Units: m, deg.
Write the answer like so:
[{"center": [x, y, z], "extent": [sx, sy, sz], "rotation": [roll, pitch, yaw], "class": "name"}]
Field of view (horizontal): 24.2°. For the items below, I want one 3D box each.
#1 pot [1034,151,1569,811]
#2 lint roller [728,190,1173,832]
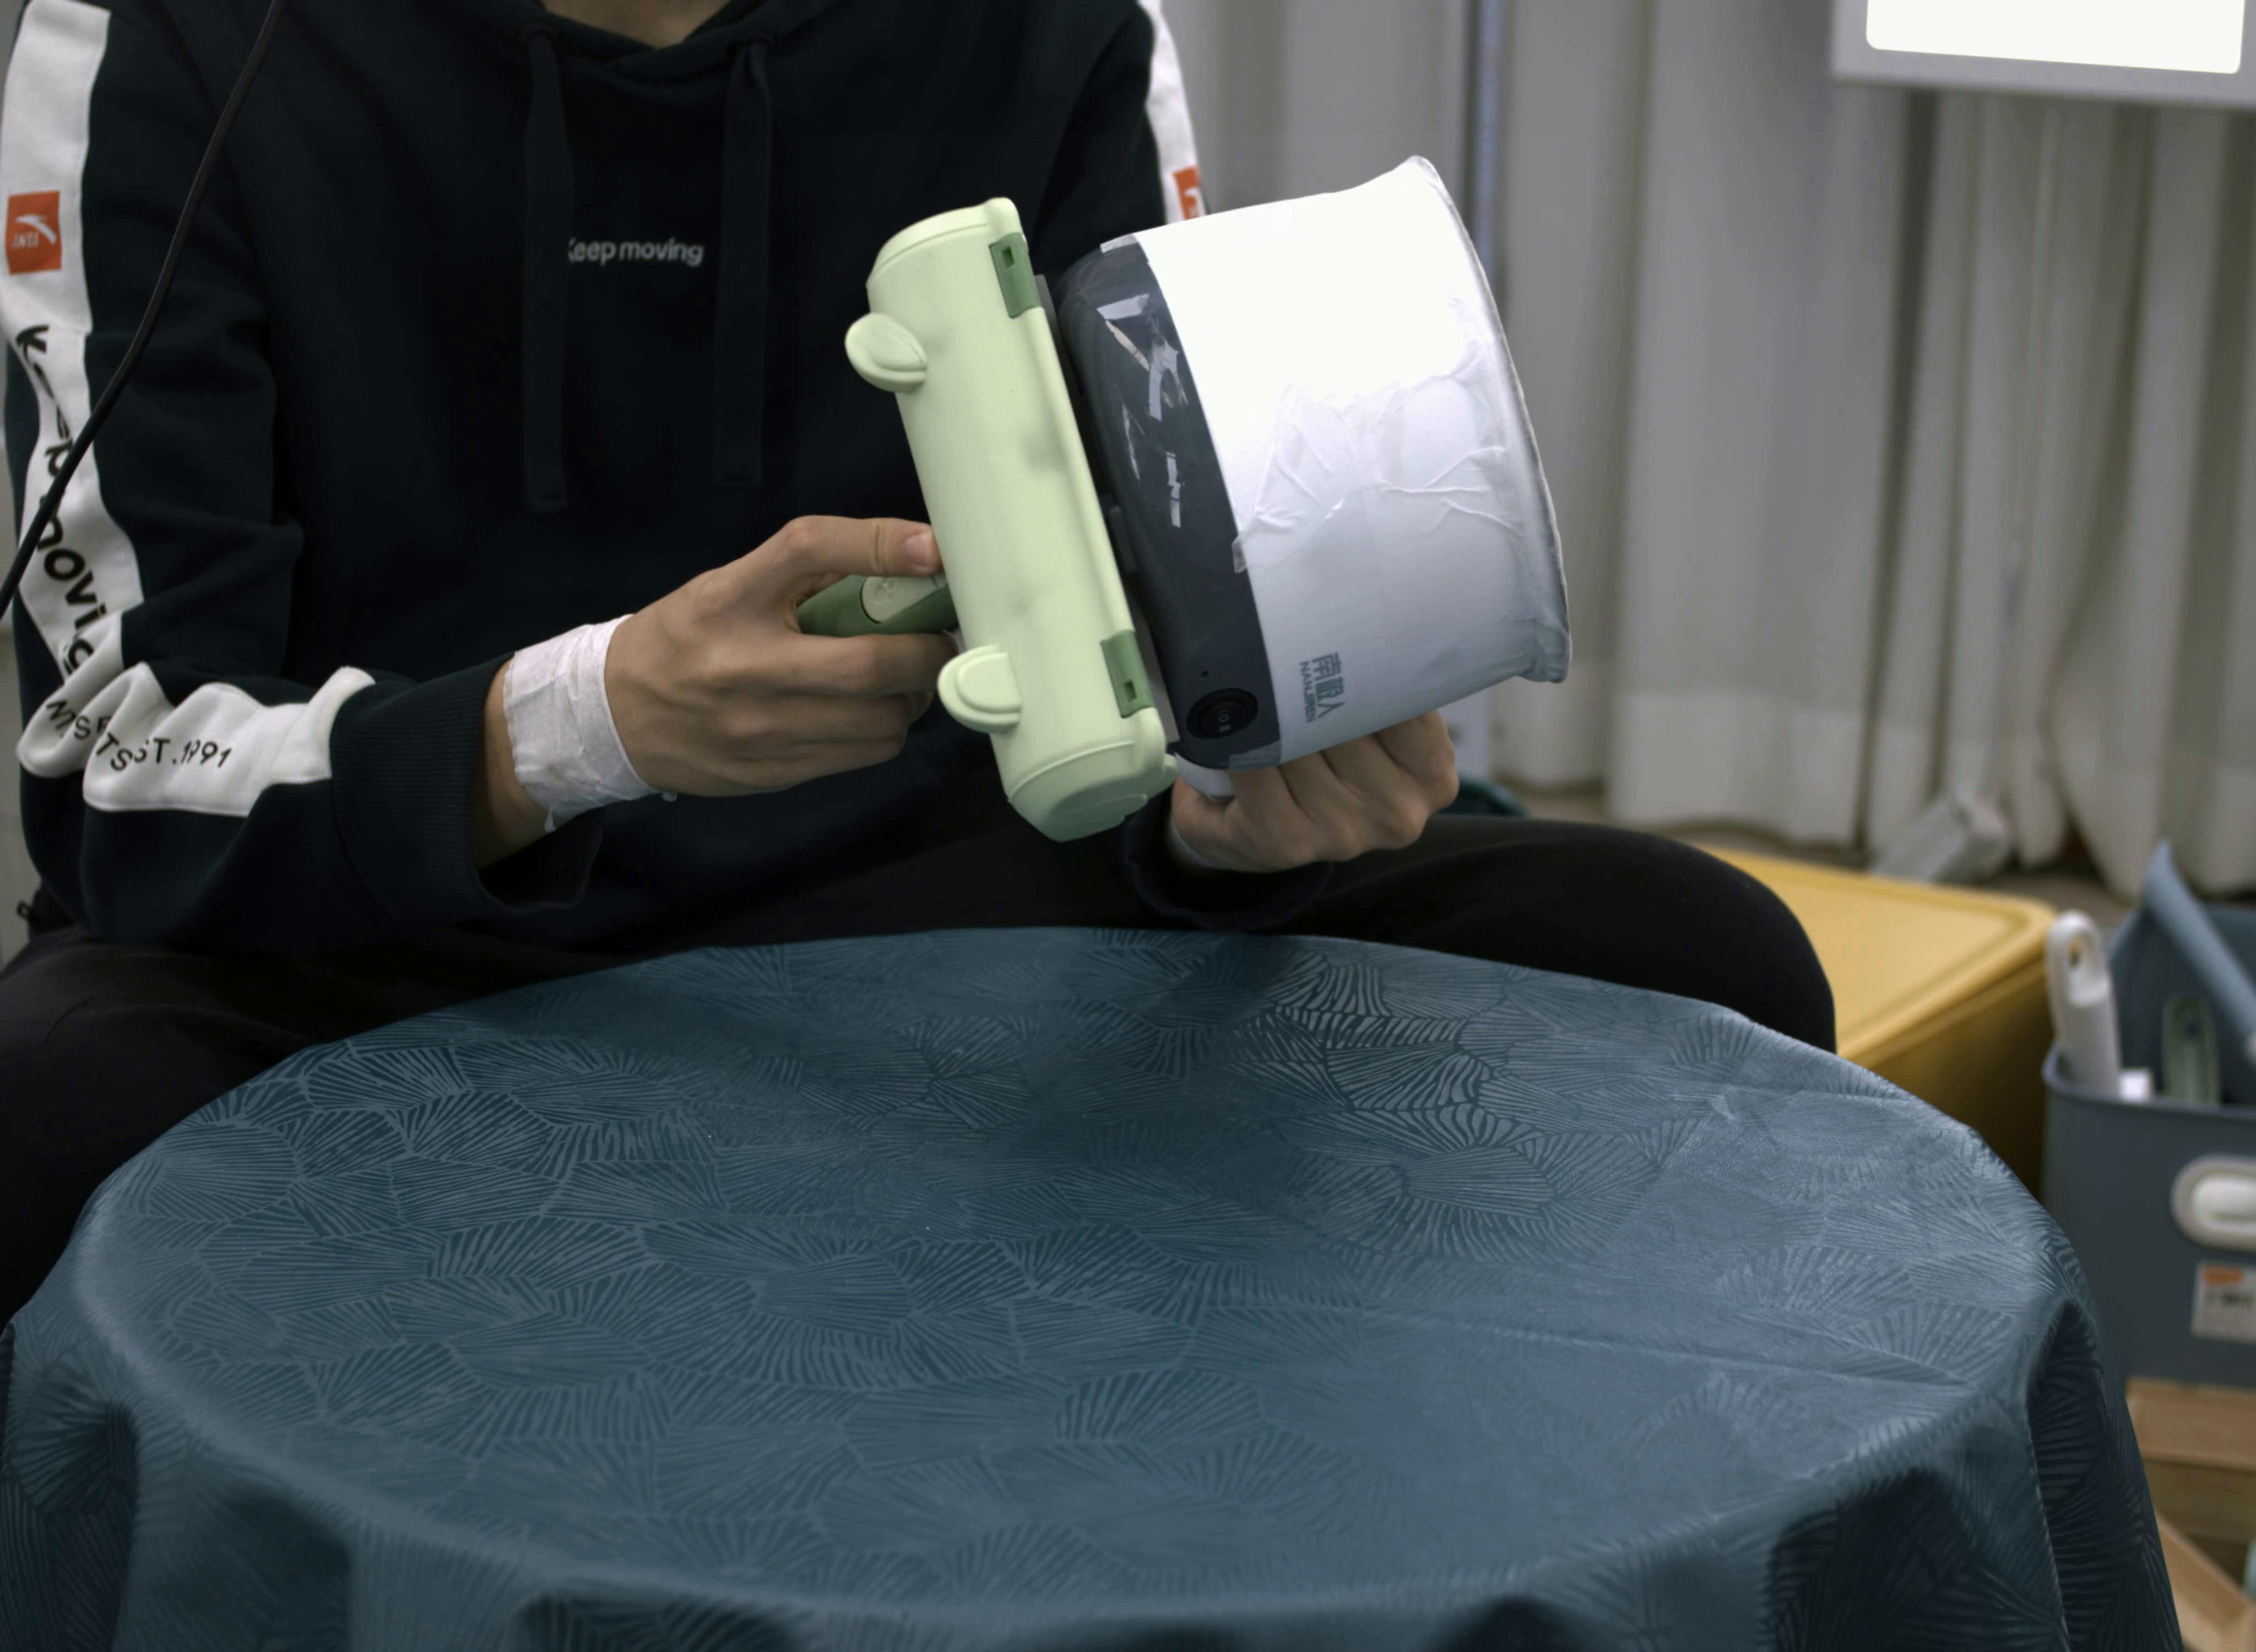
[{"center": [0.057, -0.097, 1.714], "extent": [0.136, 0.236, 0.177], "rotation": [-16, 54, -3], "class": "pot"}, {"center": [-0.080, -0.076, 1.655], "extent": [0.182, 0.198, 0.083], "rotation": [-27, -19, 34], "class": "lint roller"}]
